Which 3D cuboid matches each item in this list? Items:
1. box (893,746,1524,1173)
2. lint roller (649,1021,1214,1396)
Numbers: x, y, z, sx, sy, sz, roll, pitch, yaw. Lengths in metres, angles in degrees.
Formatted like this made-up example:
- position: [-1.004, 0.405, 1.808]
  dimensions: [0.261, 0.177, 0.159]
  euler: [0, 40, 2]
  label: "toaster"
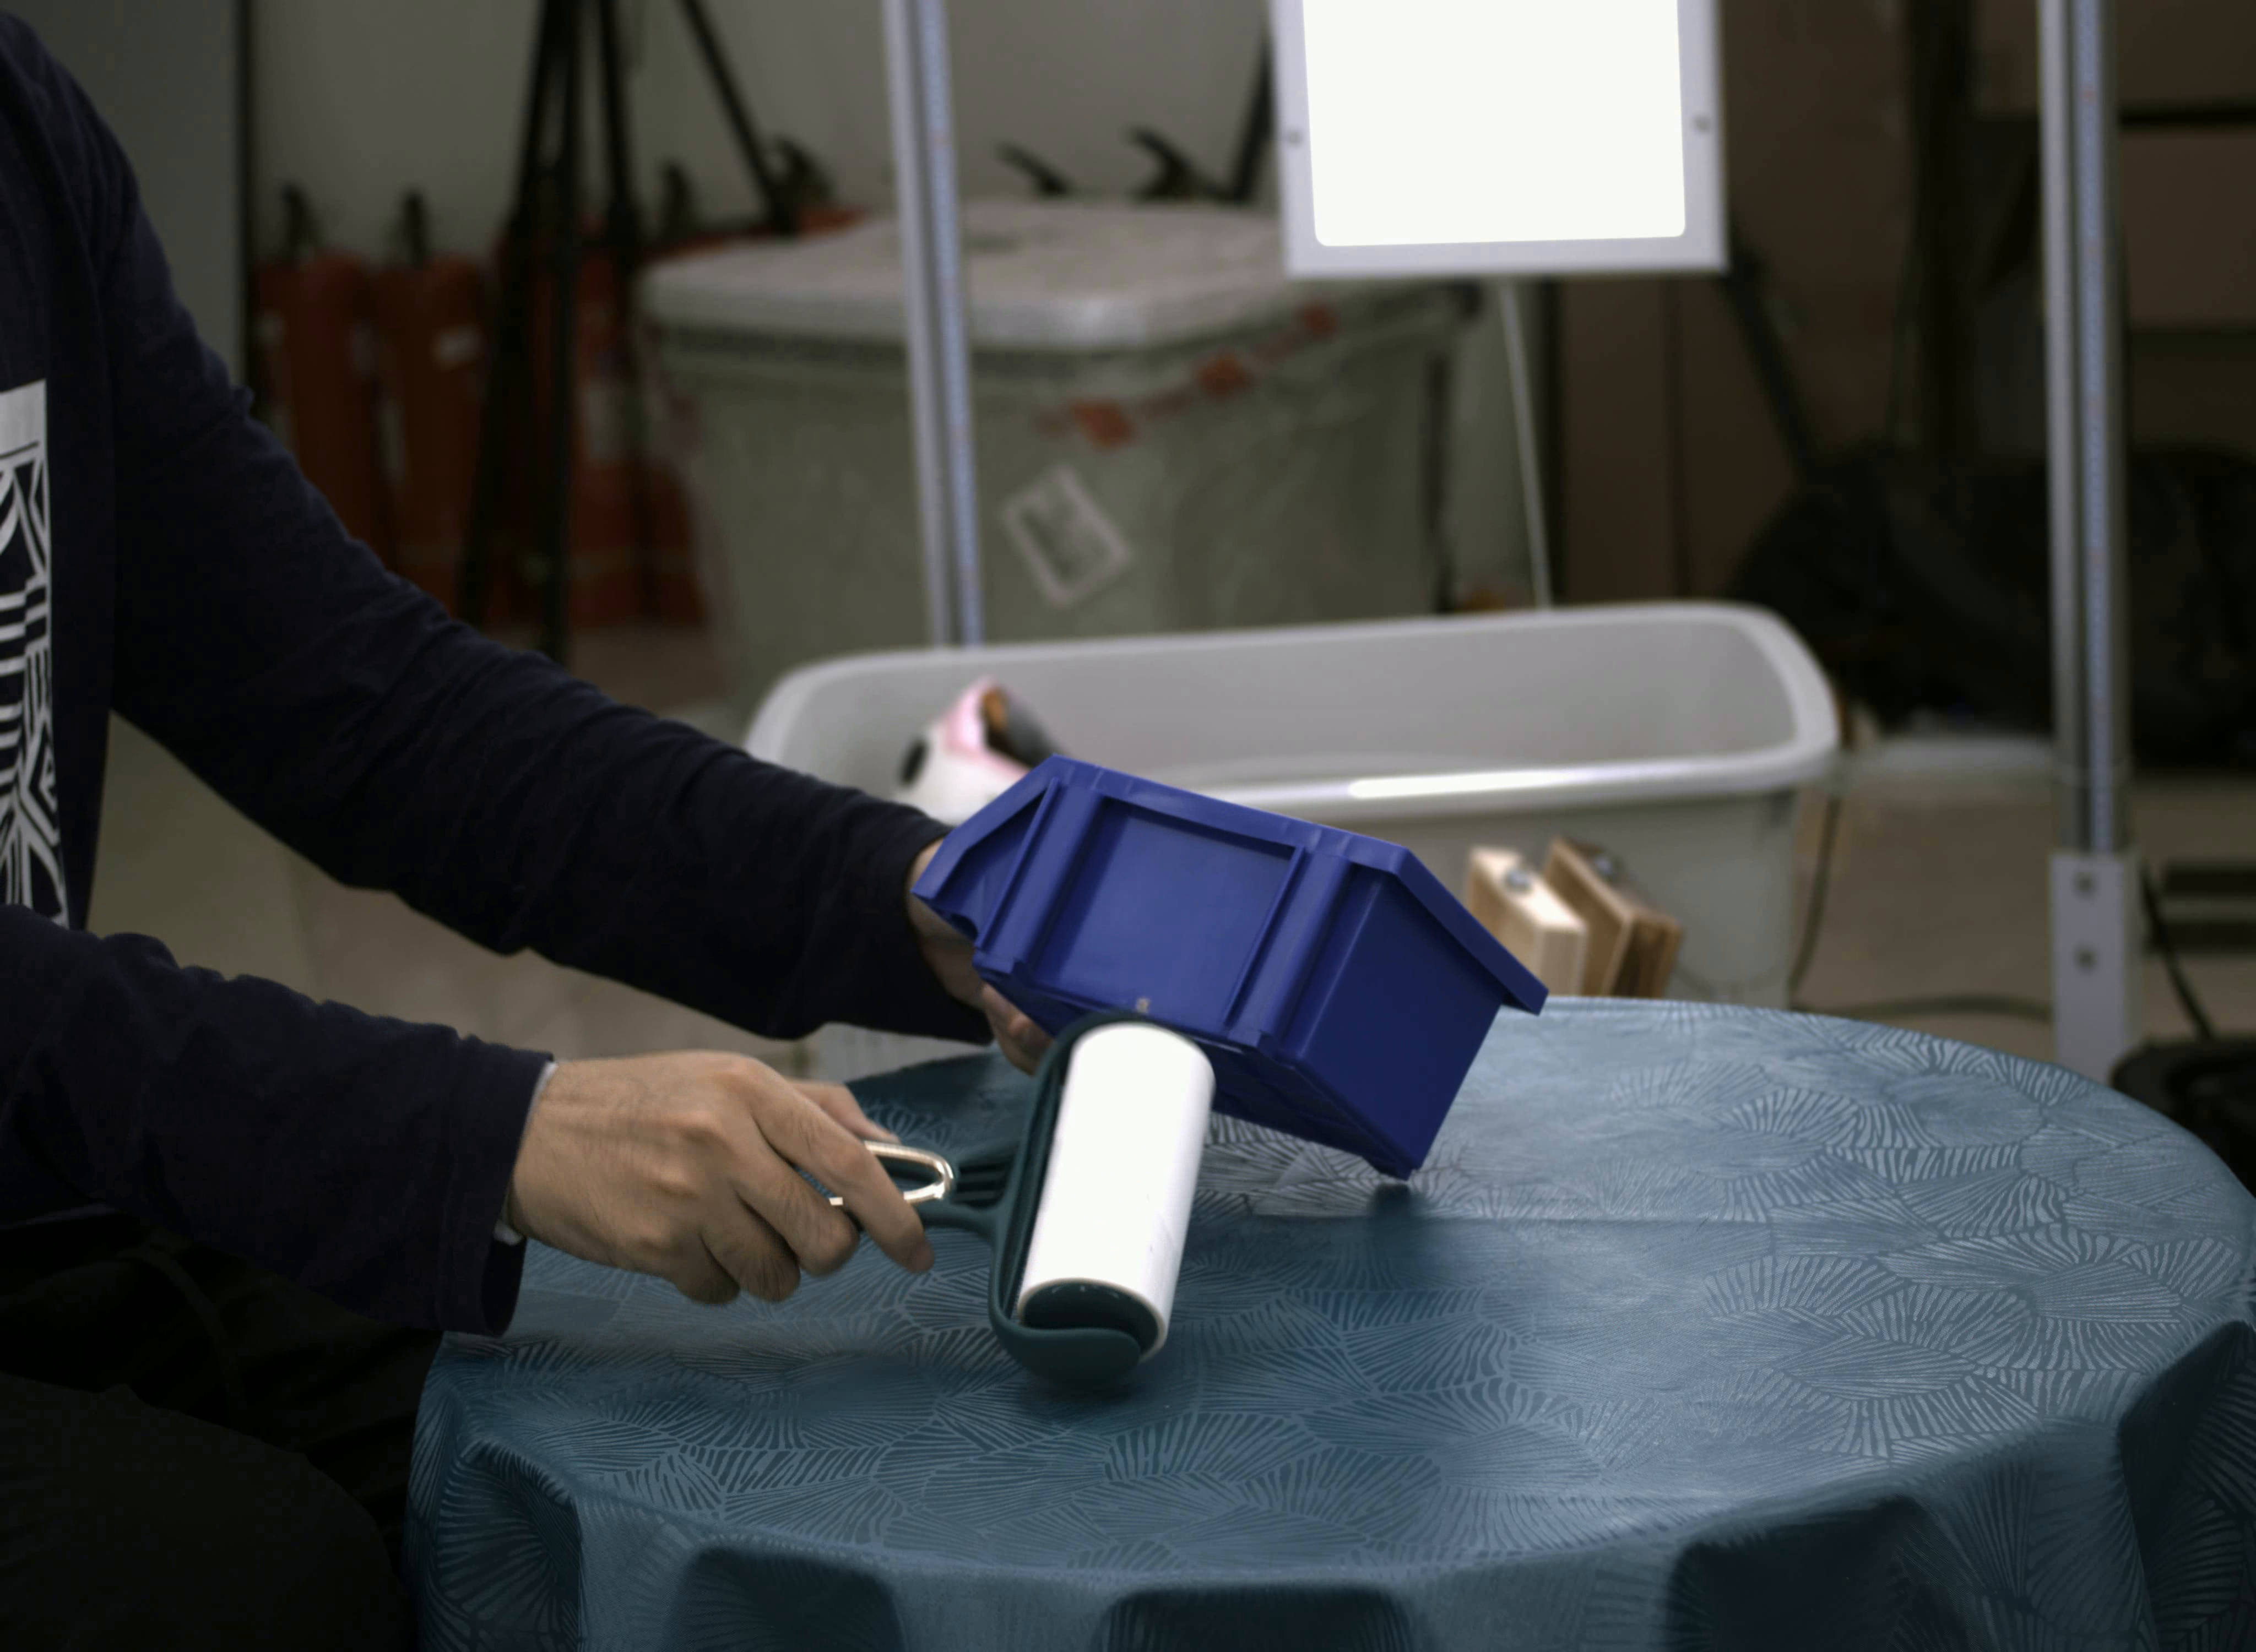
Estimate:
- position: [0.023, 0.043, 1.893]
  dimensions: [0.183, 0.081, 0.122]
  euler: [18, -13, 39]
  label: "box"
- position: [-0.068, 0.116, 1.747]
  dimensions: [0.181, 0.048, 0.133]
  euler: [3, 47, 13]
  label: "lint roller"
